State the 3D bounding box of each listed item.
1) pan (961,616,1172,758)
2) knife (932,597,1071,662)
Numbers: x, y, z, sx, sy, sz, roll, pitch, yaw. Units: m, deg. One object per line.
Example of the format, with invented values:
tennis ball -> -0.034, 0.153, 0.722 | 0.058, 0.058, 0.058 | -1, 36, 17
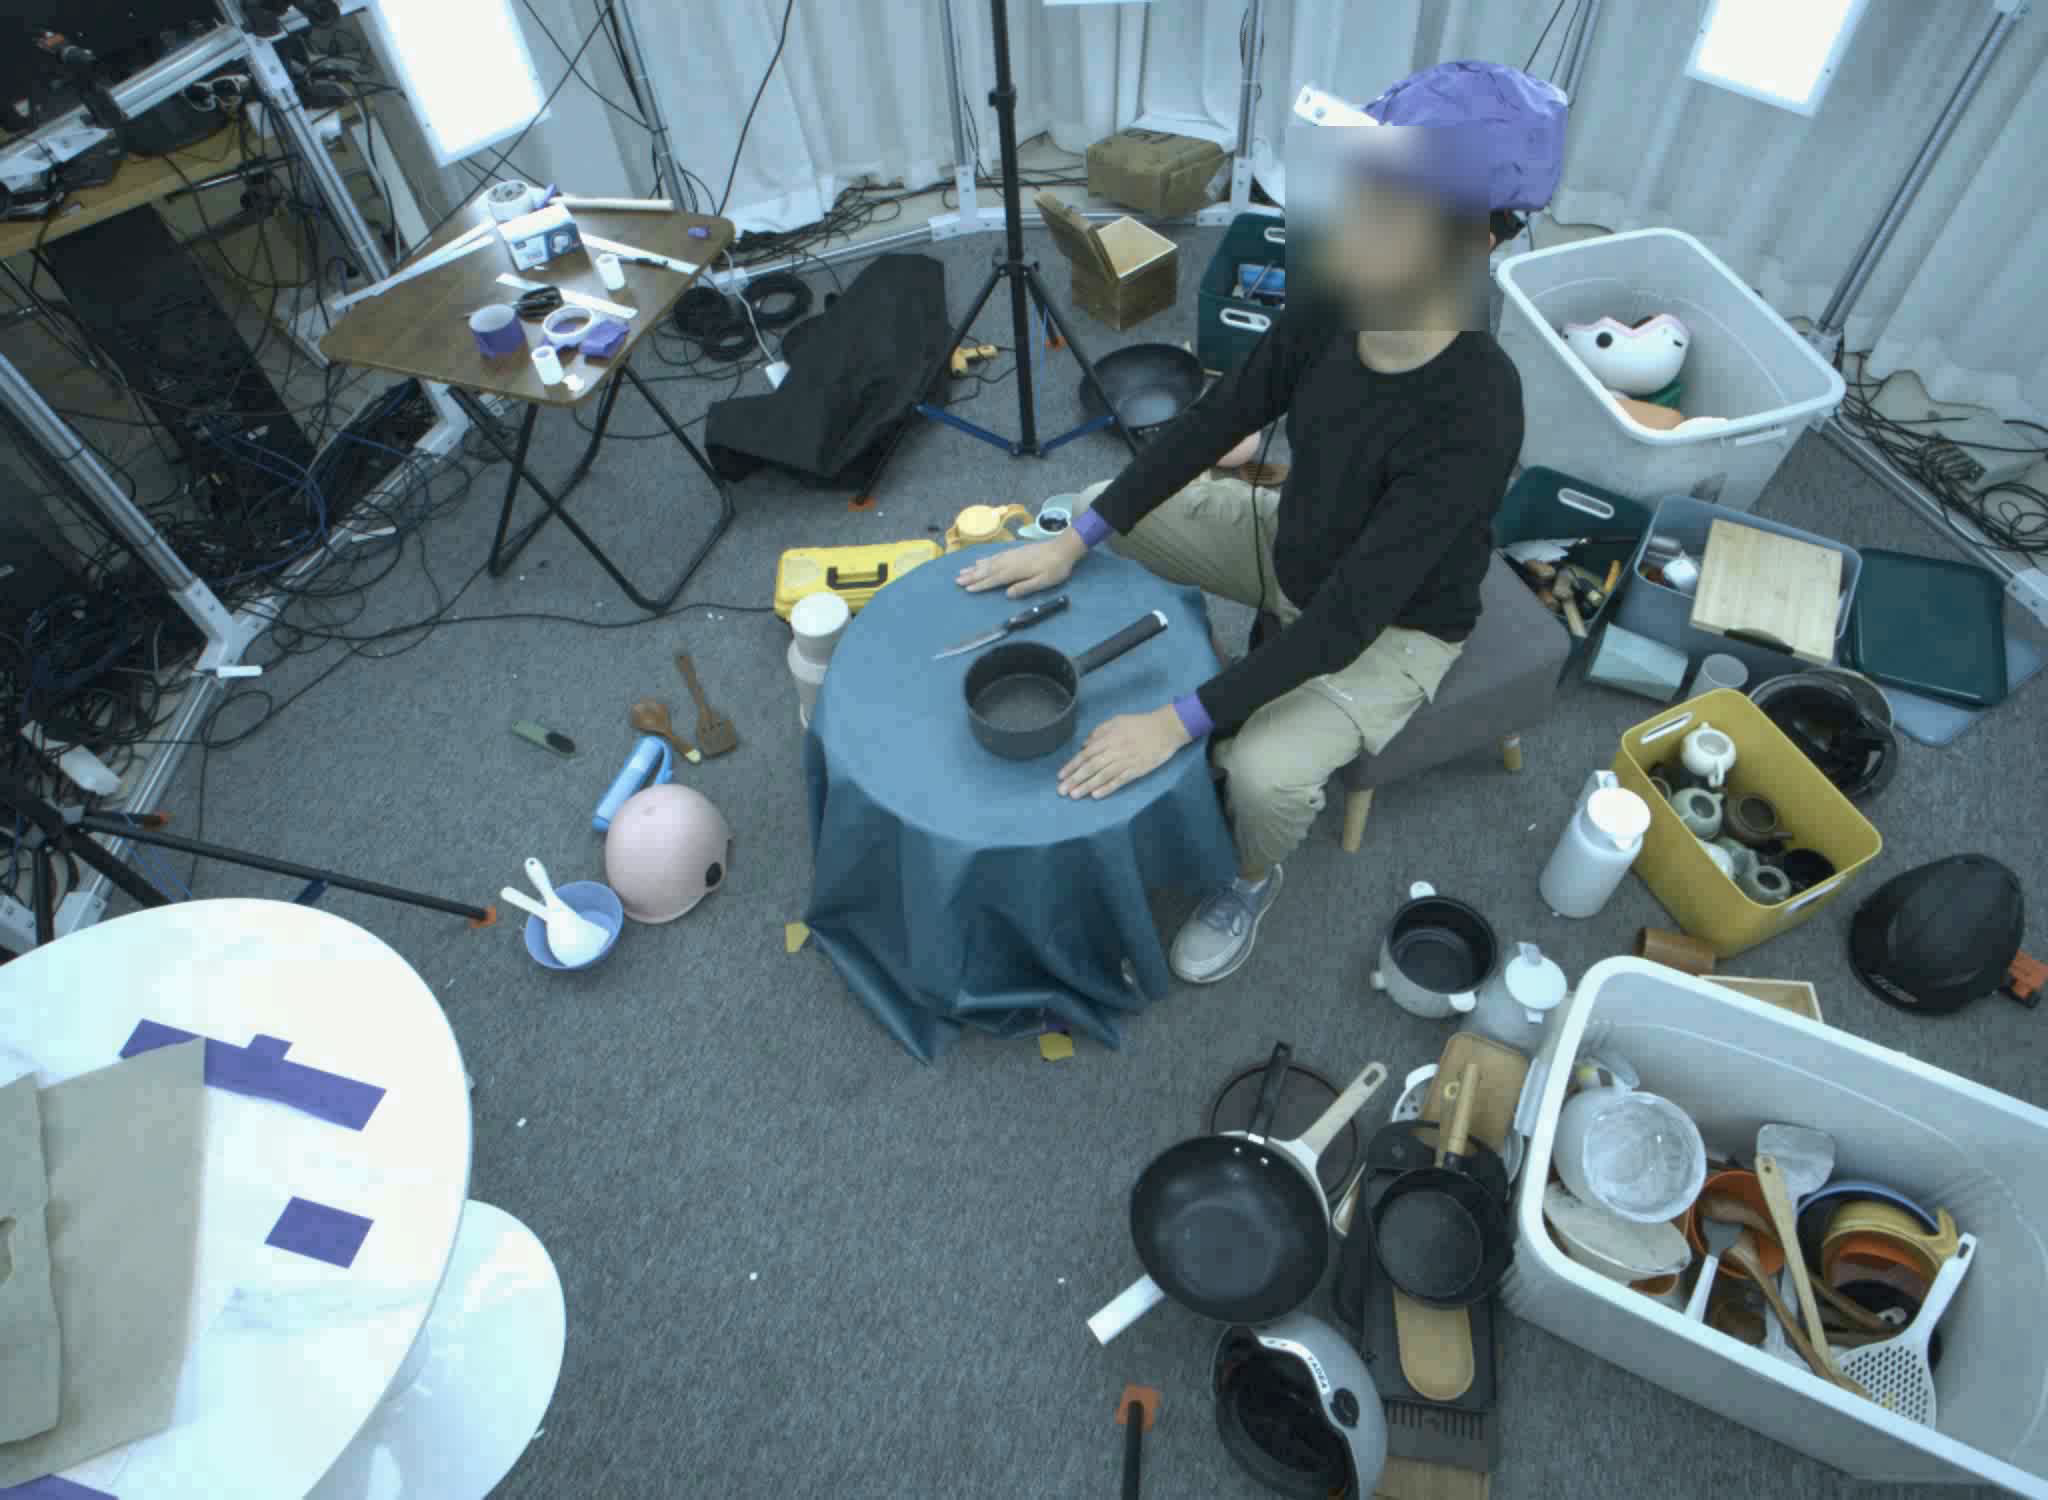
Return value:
pan -> 0.067, -0.105, 1.804 | 0.331, 0.087, 0.169 | -23, 57, -13
knife -> -0.037, -0.187, 1.912 | 0.239, 0.016, 0.024 | -25, 60, -12
